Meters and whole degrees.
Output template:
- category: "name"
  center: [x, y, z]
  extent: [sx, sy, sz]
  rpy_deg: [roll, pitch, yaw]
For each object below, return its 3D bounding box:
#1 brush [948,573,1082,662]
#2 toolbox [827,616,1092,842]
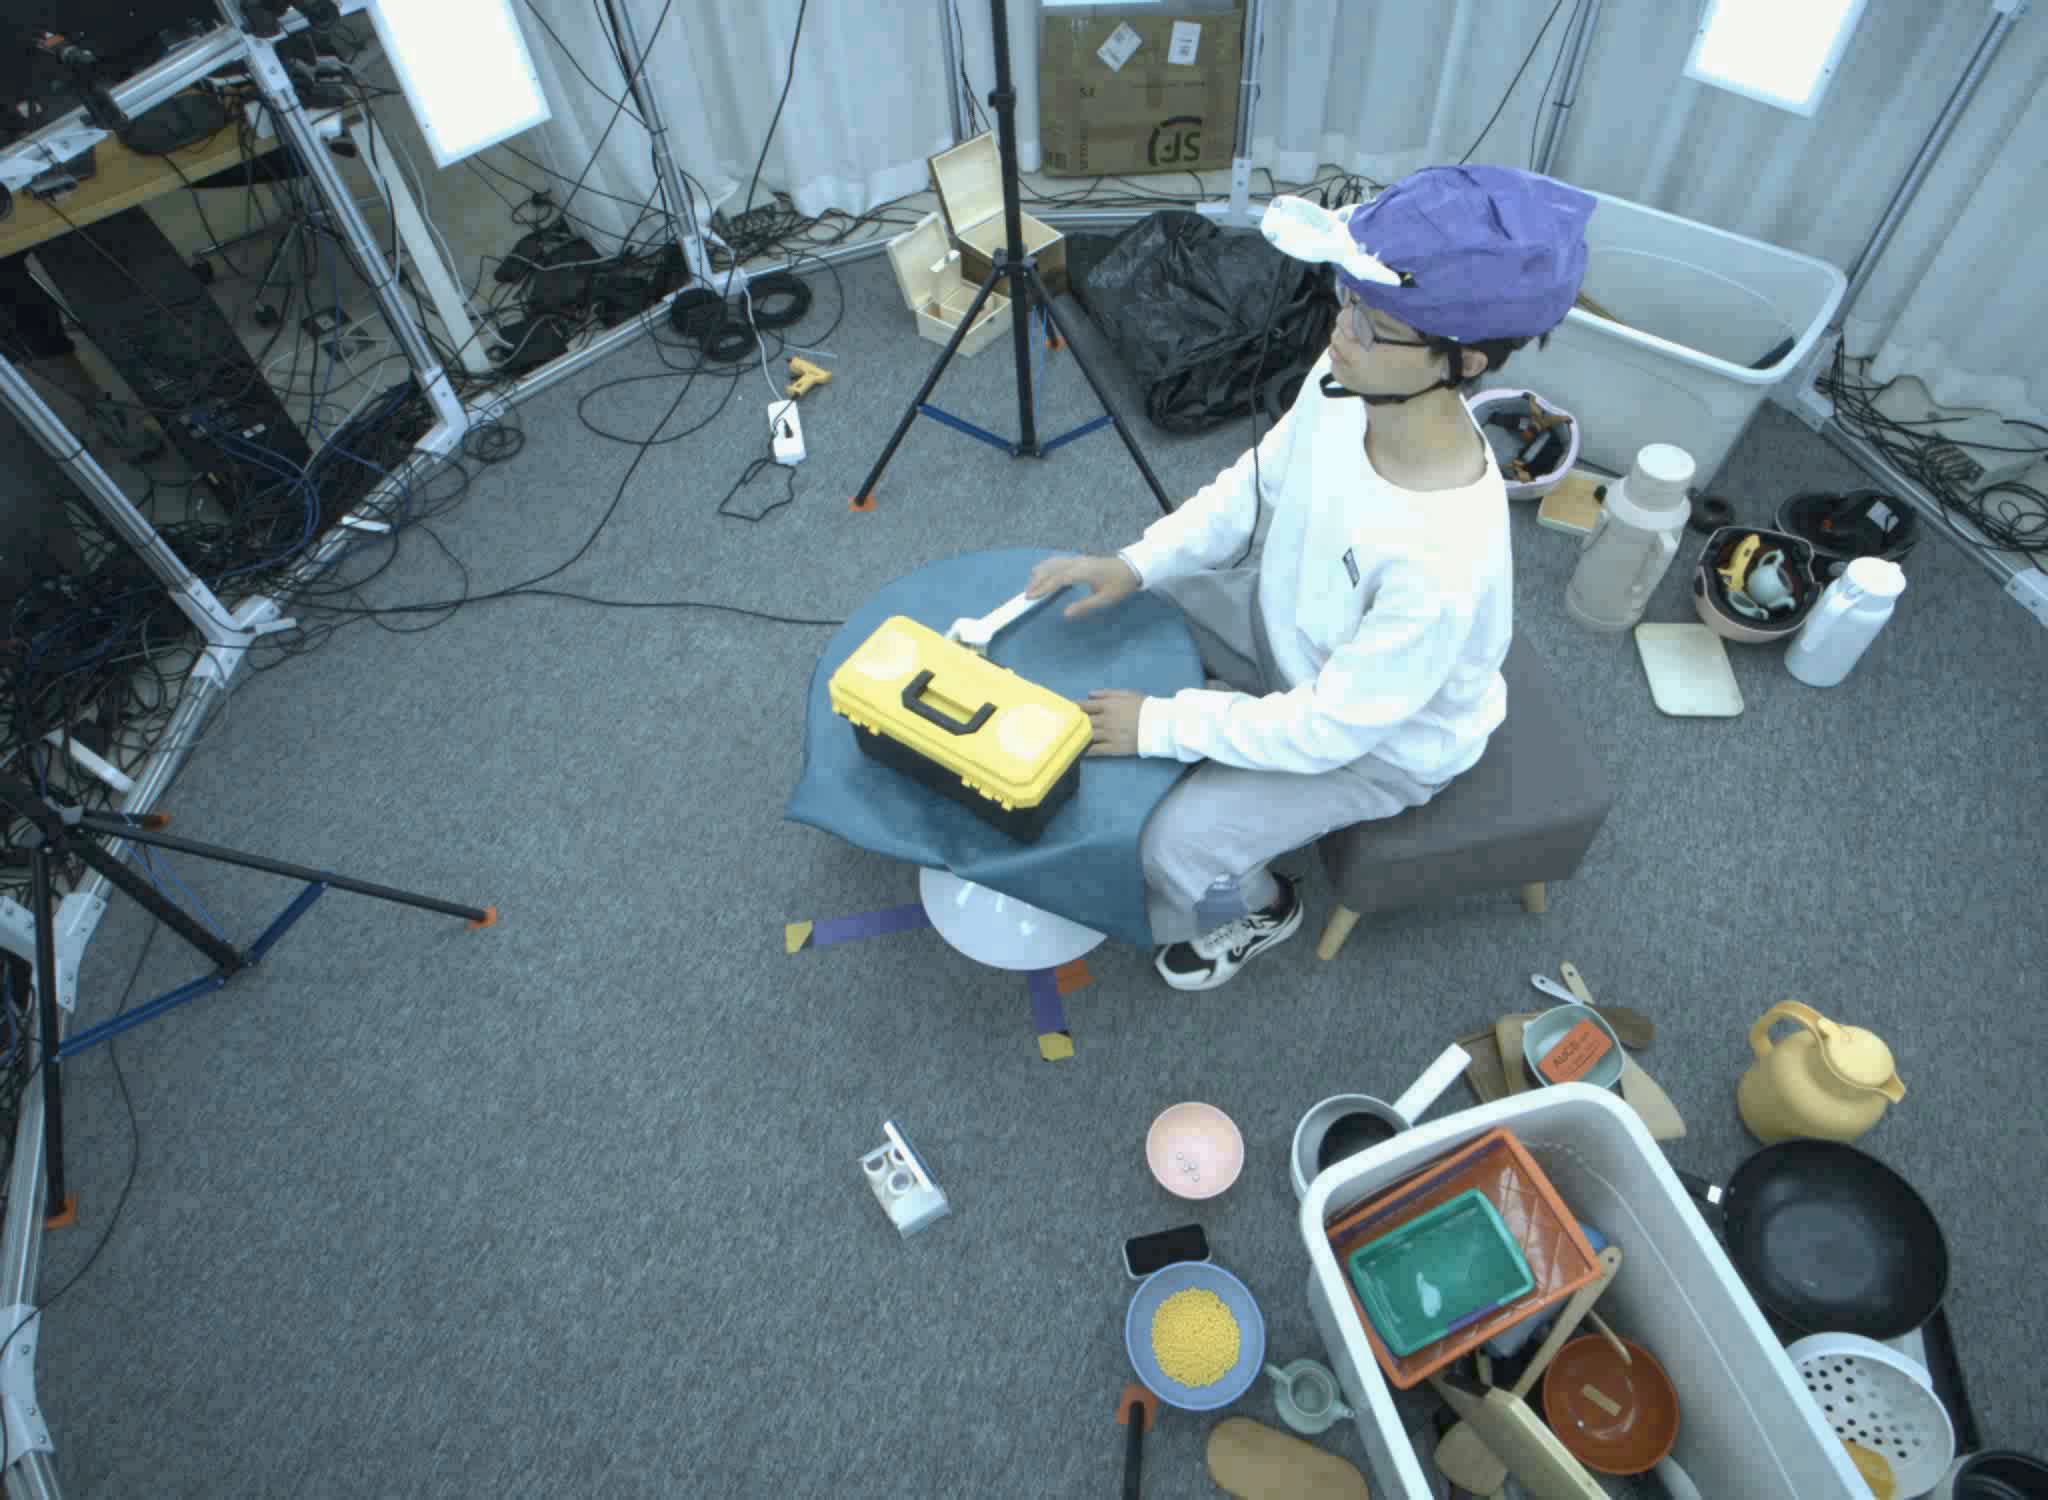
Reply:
- category: "brush"
  center: [-0.011, -0.212, 1.929]
  extent: [0.270, 0.056, 0.068]
  rpy_deg: [-31, 79, -37]
- category: "toolbox"
  center: [-0.087, -0.030, 1.701]
  extent: [0.346, 0.174, 0.182]
  rpy_deg: [29, 62, 20]
